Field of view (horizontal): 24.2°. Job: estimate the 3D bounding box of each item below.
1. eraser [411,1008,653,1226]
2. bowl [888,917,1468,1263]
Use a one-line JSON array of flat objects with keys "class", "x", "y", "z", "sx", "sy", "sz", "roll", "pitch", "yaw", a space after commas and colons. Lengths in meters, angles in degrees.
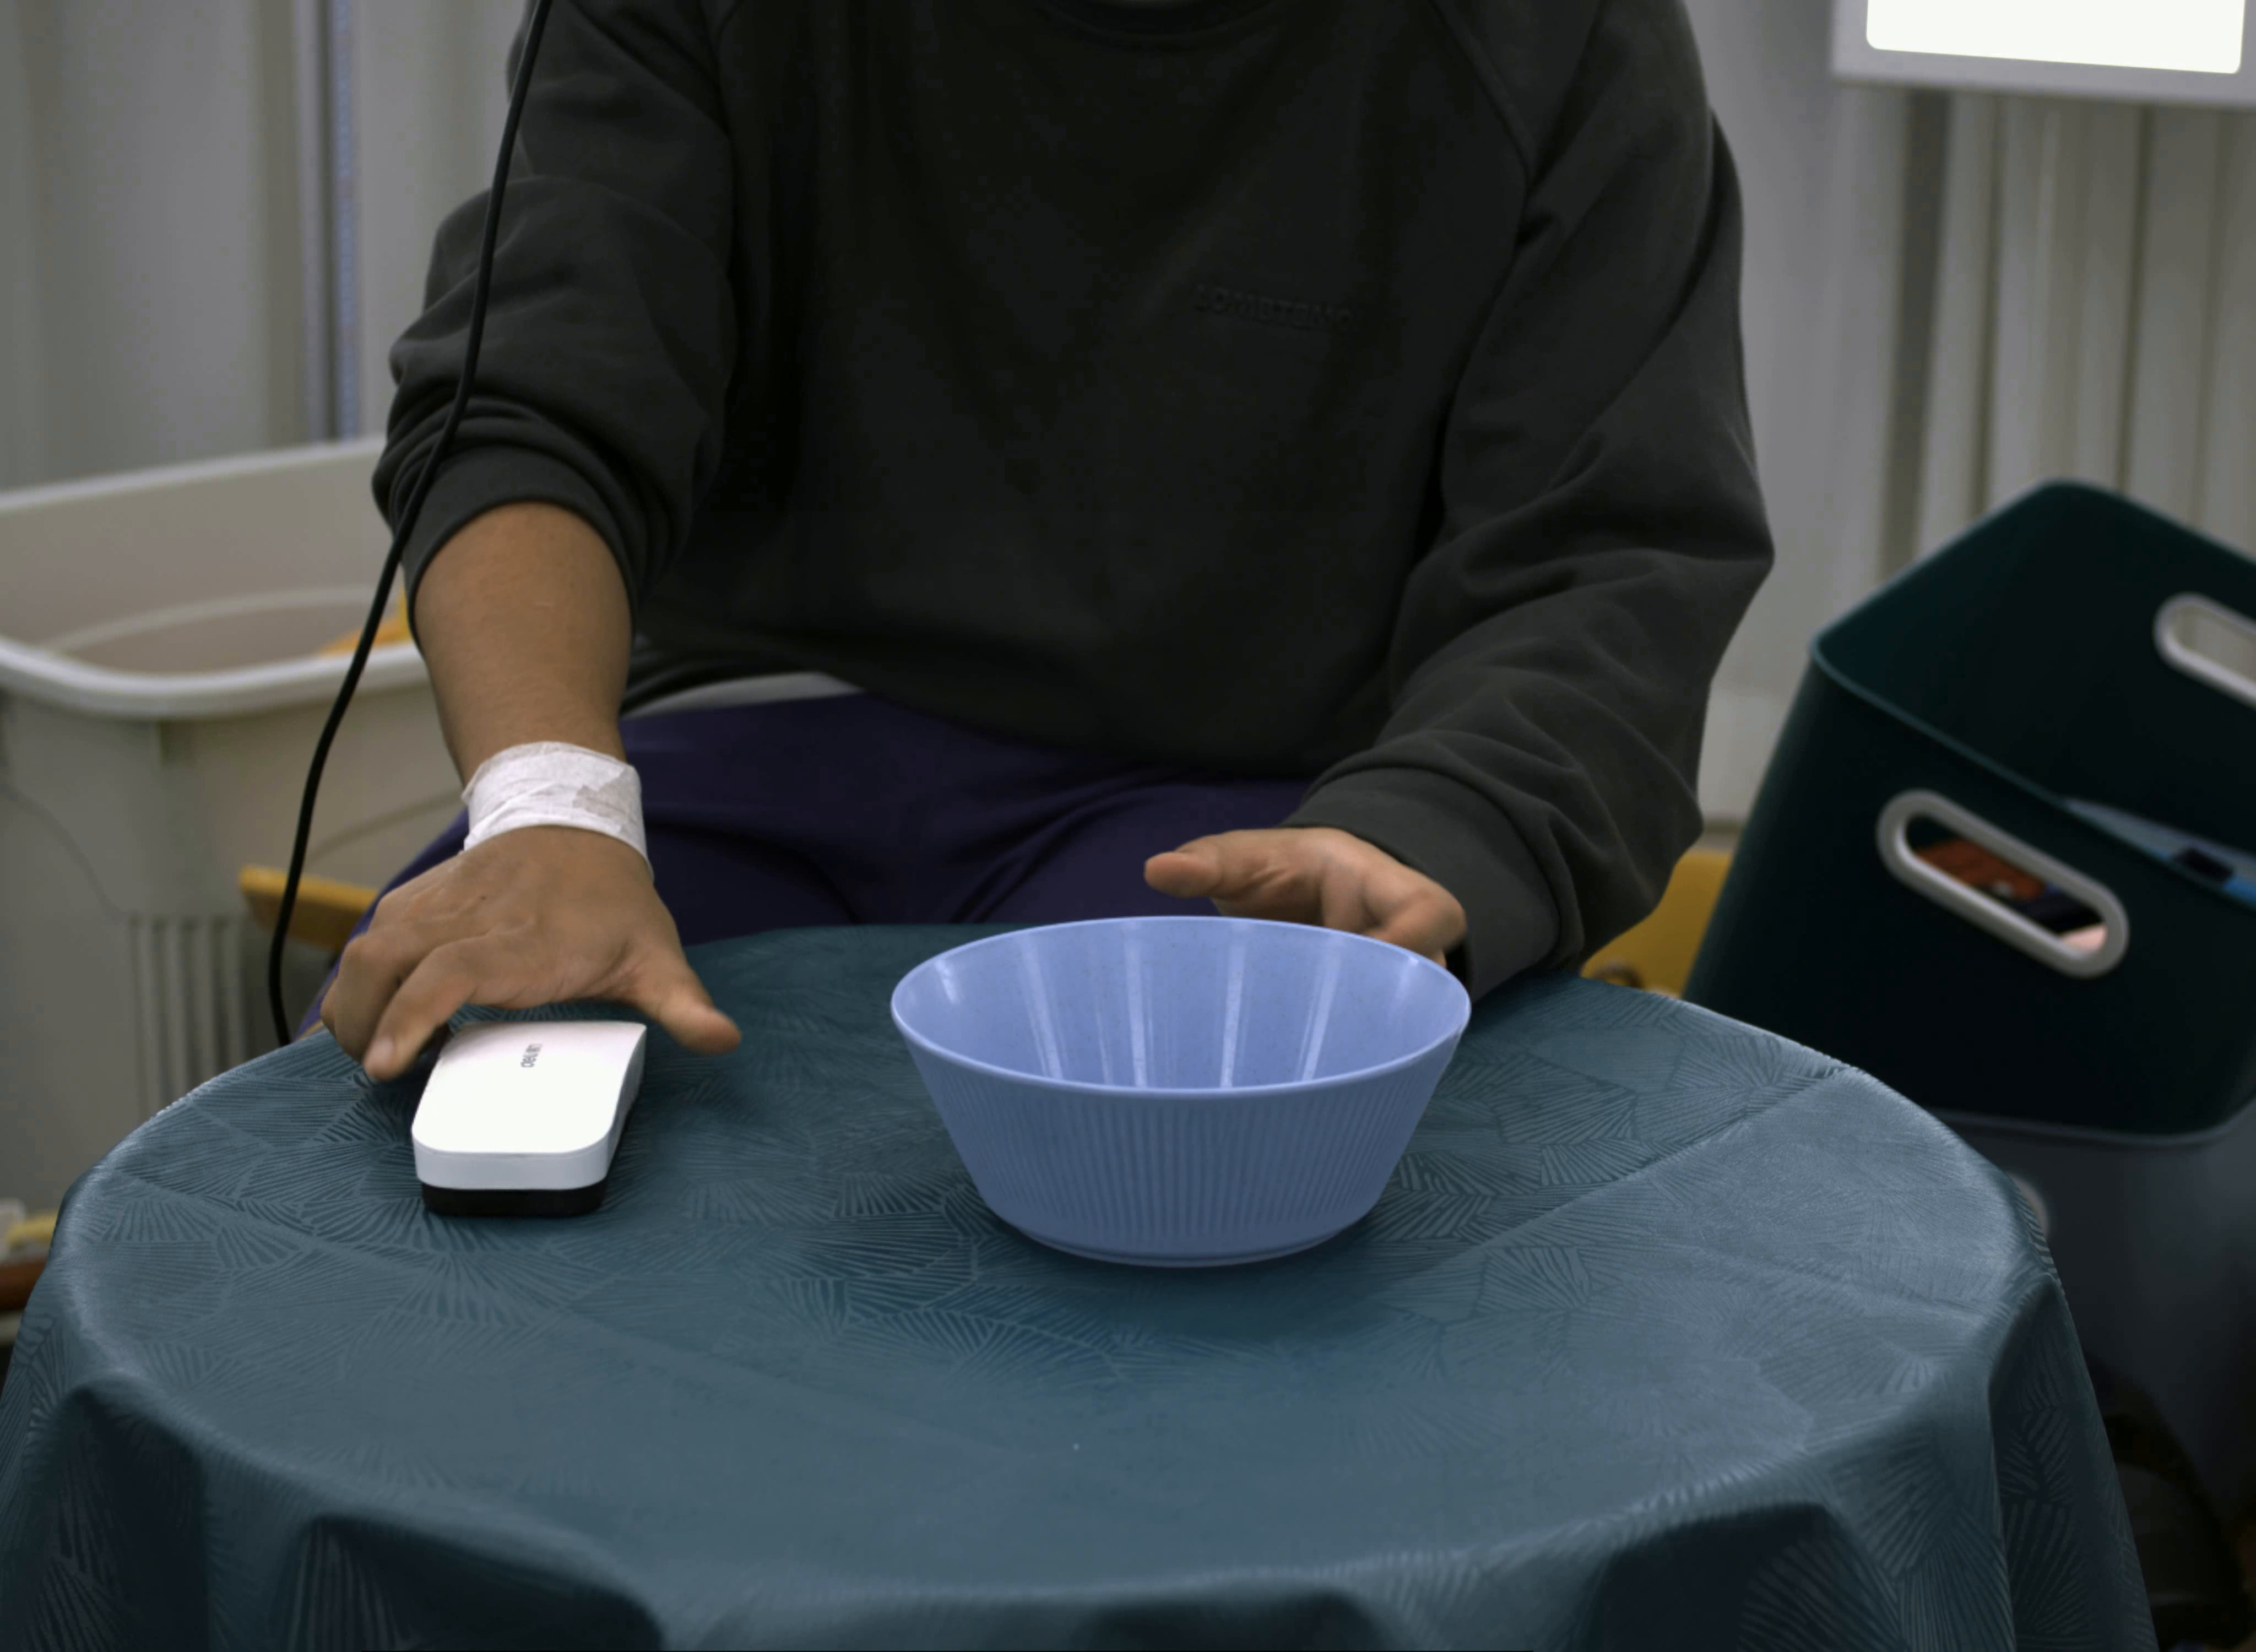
[{"class": "eraser", "x": -0.184, "y": 0.087, "z": 1.648, "sx": 0.063, "sy": 0.035, "sz": 0.130, "roll": 3, "pitch": 18, "yaw": 2}, {"class": "bowl", "x": 0.015, "y": 0.082, "z": 1.598, "sx": 0.175, "sy": 0.071, "sz": 0.175, "roll": 1, "pitch": 16, "yaw": 0}]
